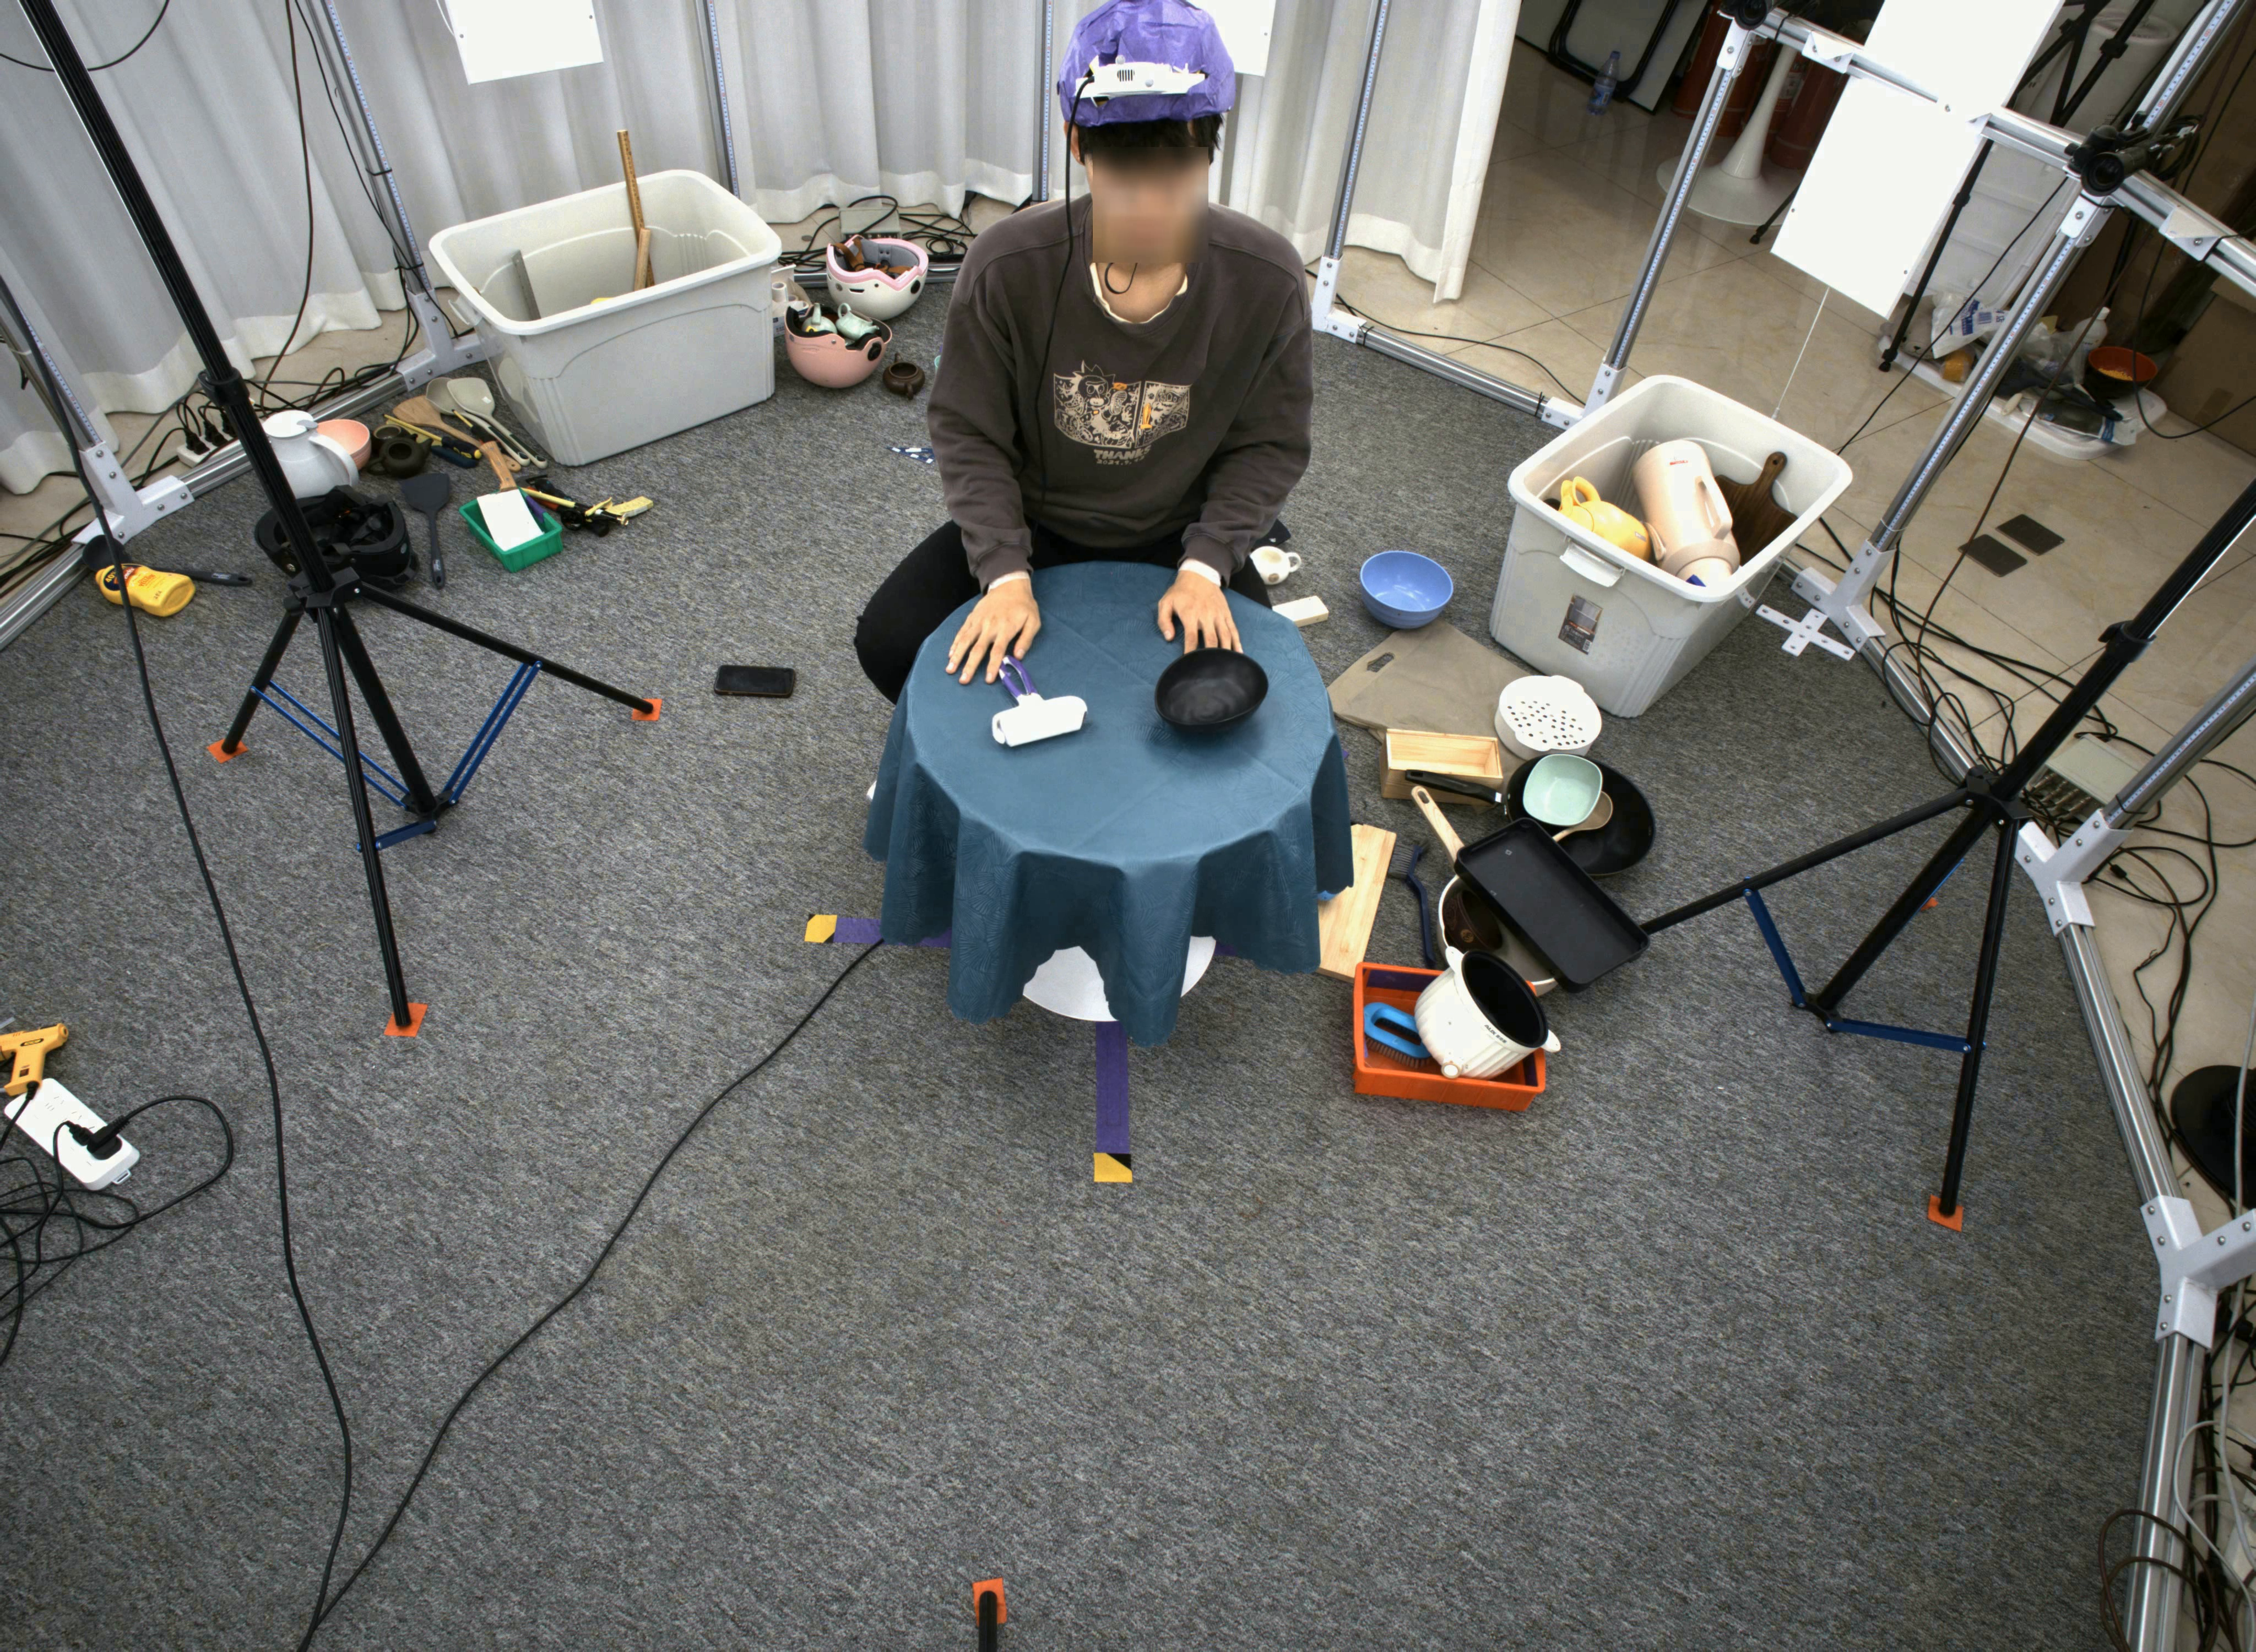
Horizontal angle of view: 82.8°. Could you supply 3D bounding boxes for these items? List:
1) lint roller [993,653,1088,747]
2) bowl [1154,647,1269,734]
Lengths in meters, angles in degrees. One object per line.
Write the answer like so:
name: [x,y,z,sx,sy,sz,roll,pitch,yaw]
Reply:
lint roller: [-0.141,-0.191,1.792,0.133,0.049,0.185,-14,54,-15]
bowl: [0.115,-0.175,1.784,0.171,0.065,0.140,-29,55,-24]
